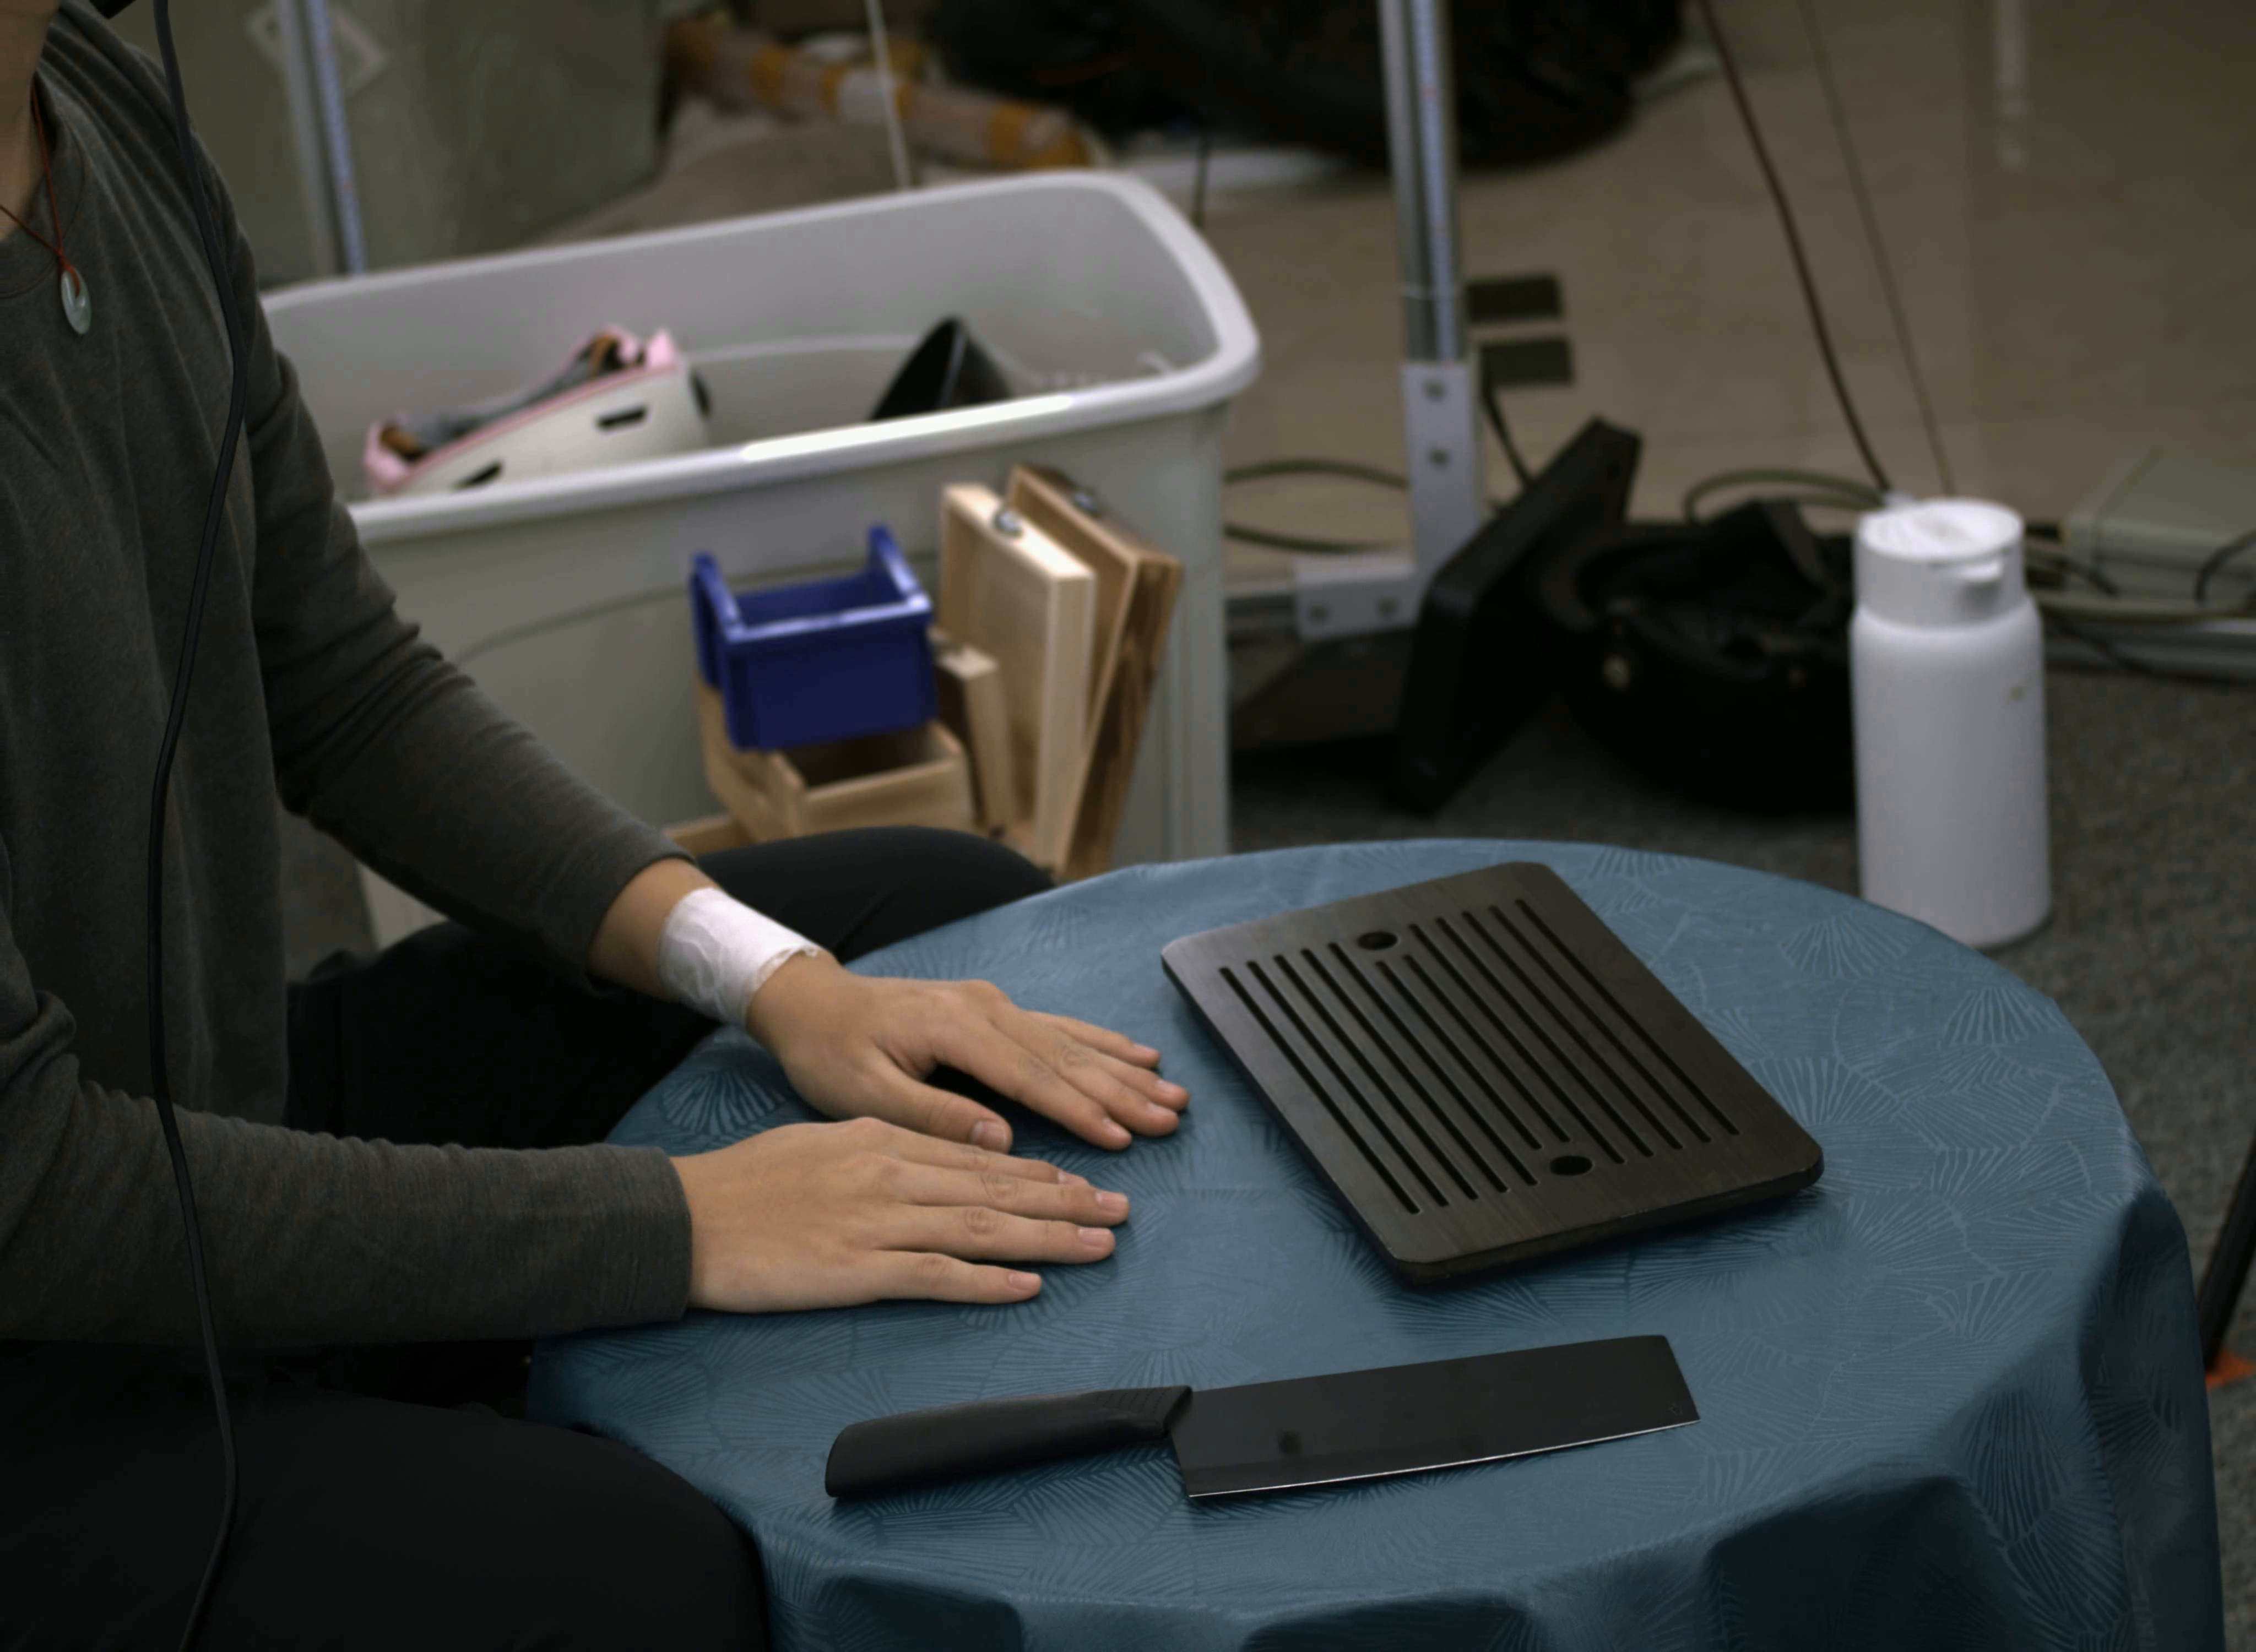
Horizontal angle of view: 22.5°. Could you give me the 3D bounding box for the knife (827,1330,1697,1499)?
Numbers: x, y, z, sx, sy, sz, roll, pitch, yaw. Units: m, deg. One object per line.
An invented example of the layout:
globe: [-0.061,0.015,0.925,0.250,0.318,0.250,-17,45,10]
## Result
knife: [0.046,0.209,1.974,0.302,0.021,0.079,-5,26,-1]

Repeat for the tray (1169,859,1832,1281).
tray: [0.138,0.092,2.197,0.169,0.019,0.302,-13,25,-12]
